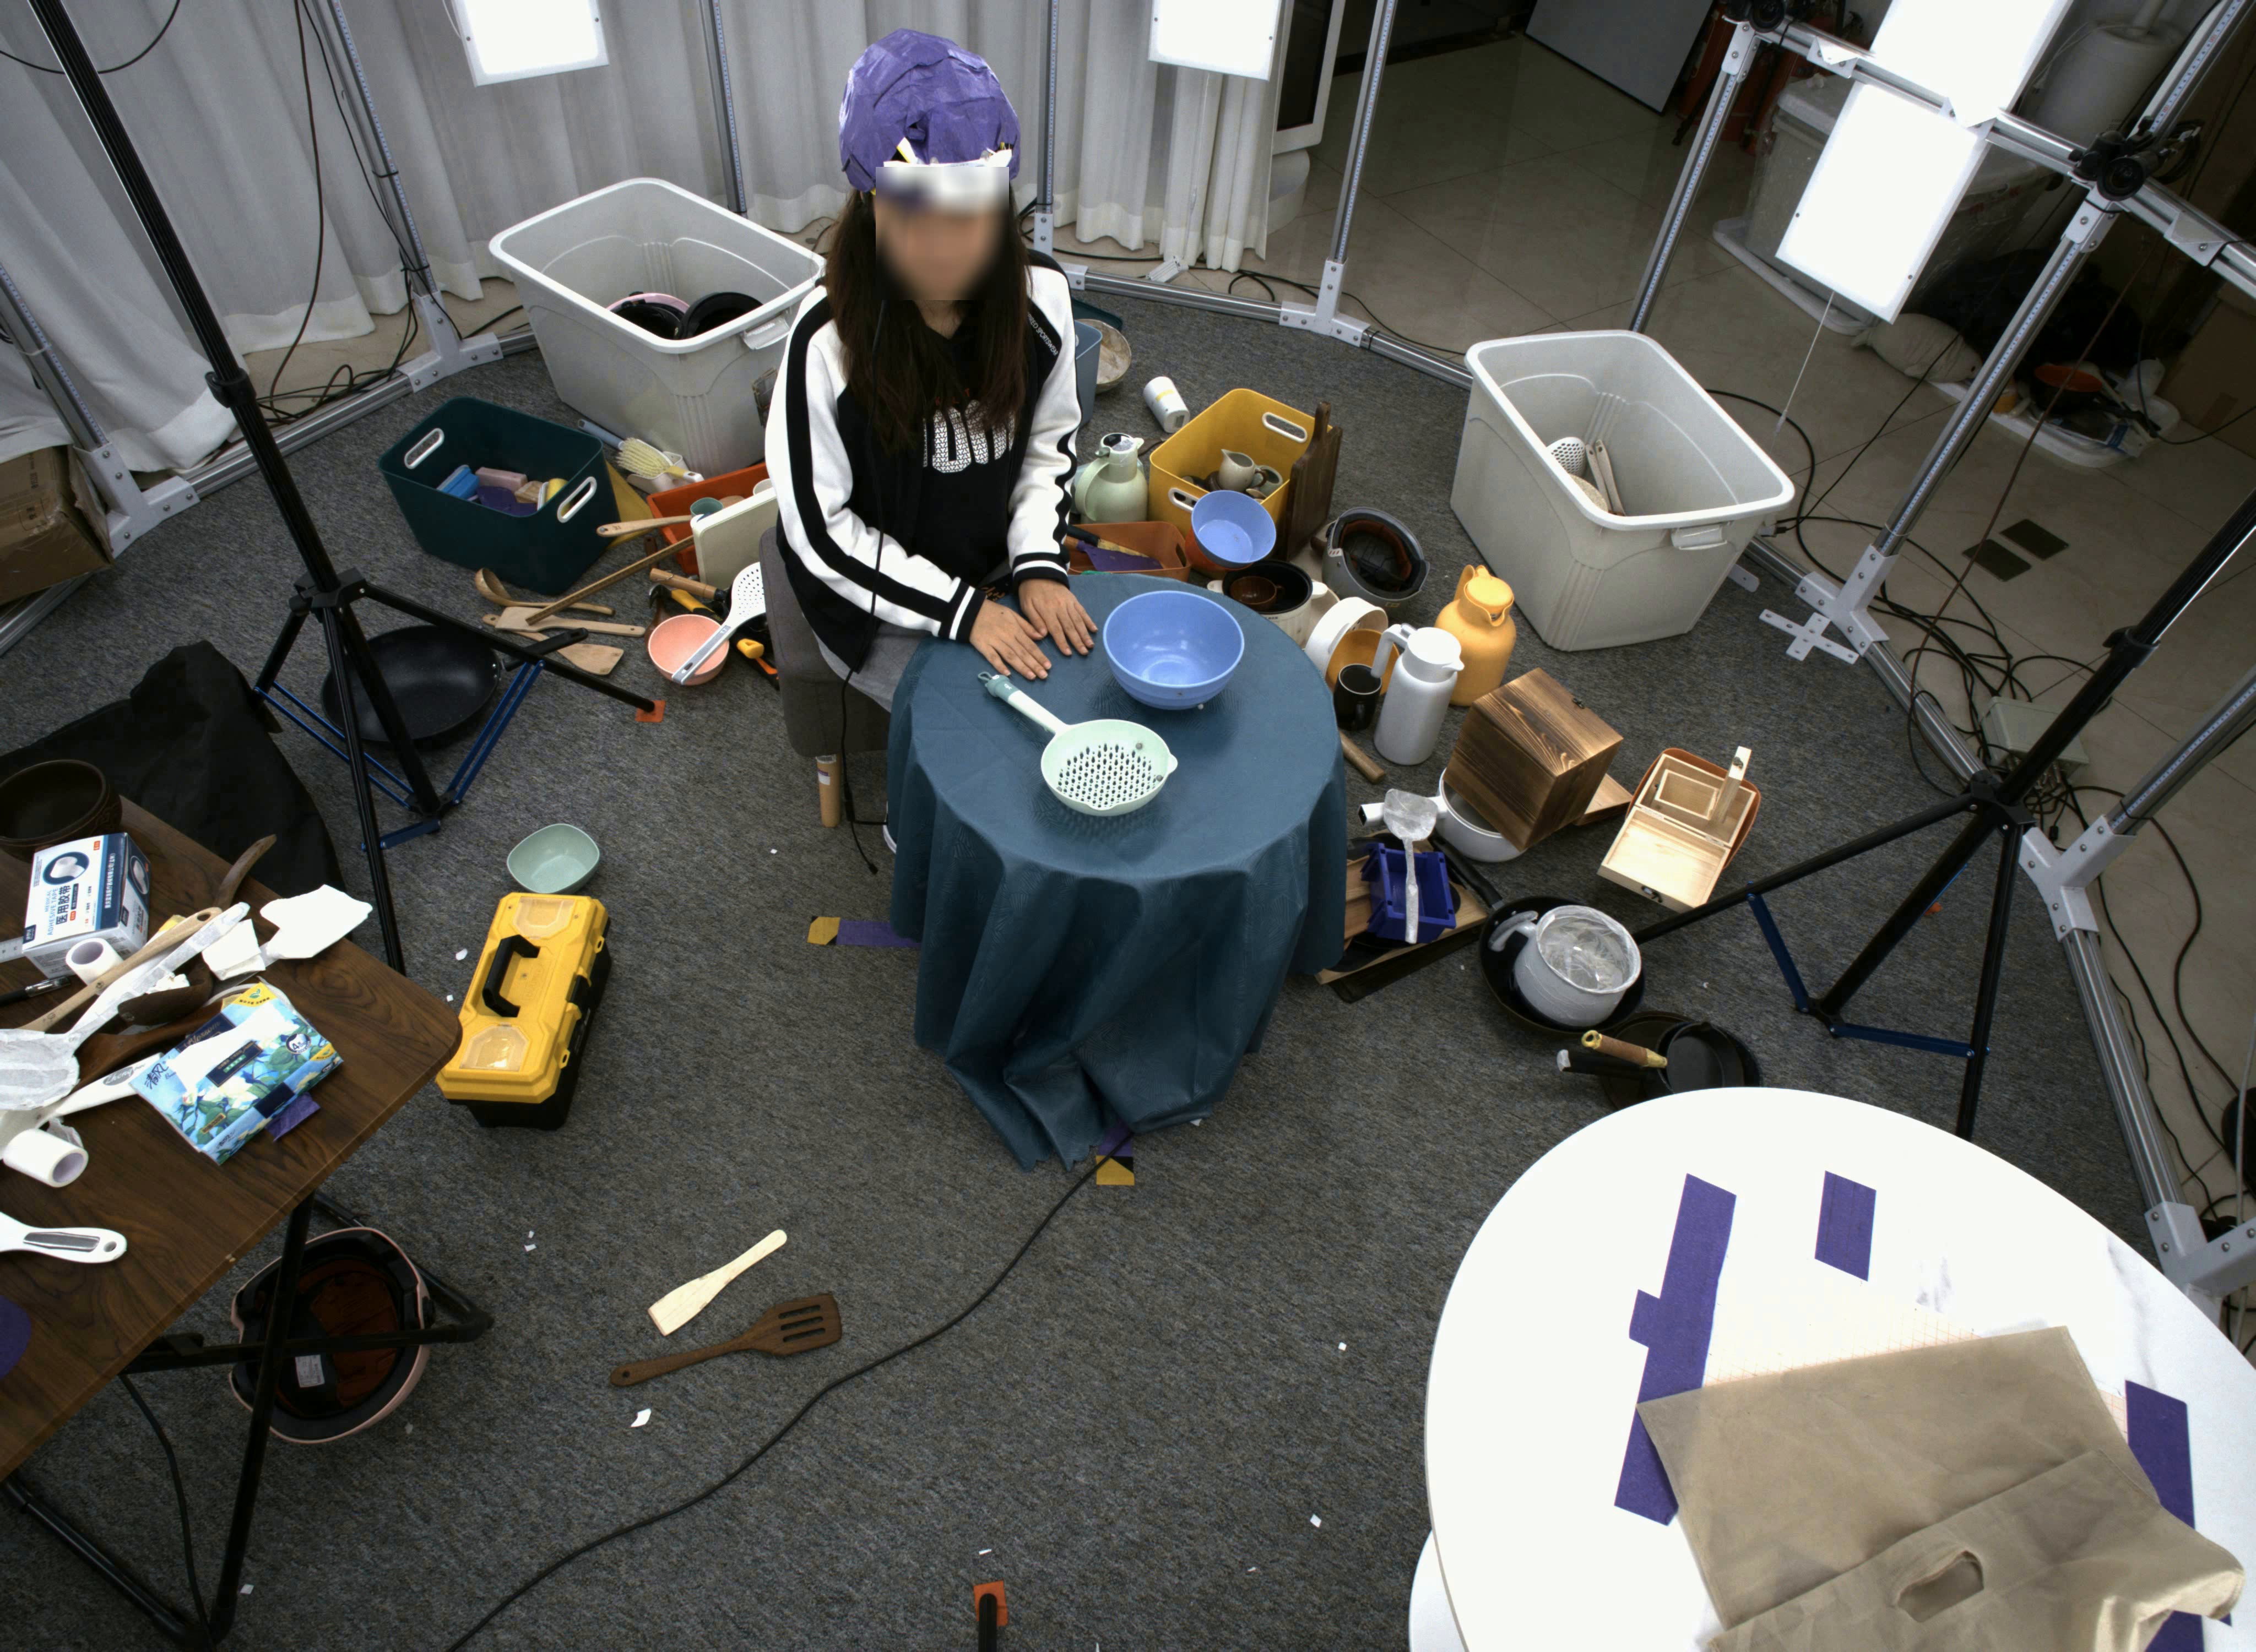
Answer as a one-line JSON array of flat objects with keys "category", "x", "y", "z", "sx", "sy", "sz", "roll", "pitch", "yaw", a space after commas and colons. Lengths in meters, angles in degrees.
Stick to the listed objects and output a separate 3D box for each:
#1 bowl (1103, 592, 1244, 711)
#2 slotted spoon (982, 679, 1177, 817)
[{"category": "bowl", "x": 0.061, "y": -0.232, "z": 1.814, "sx": 0.196, "sy": 0.093, "sz": 0.201, "roll": 1, "pitch": 49, "yaw": -2}, {"category": "slotted spoon", "x": -0.091, "y": -0.124, "z": 1.734, "sx": 0.170, "sy": 0.073, "sz": 0.365, "roll": -30, "pitch": 56, "yaw": -27}]
